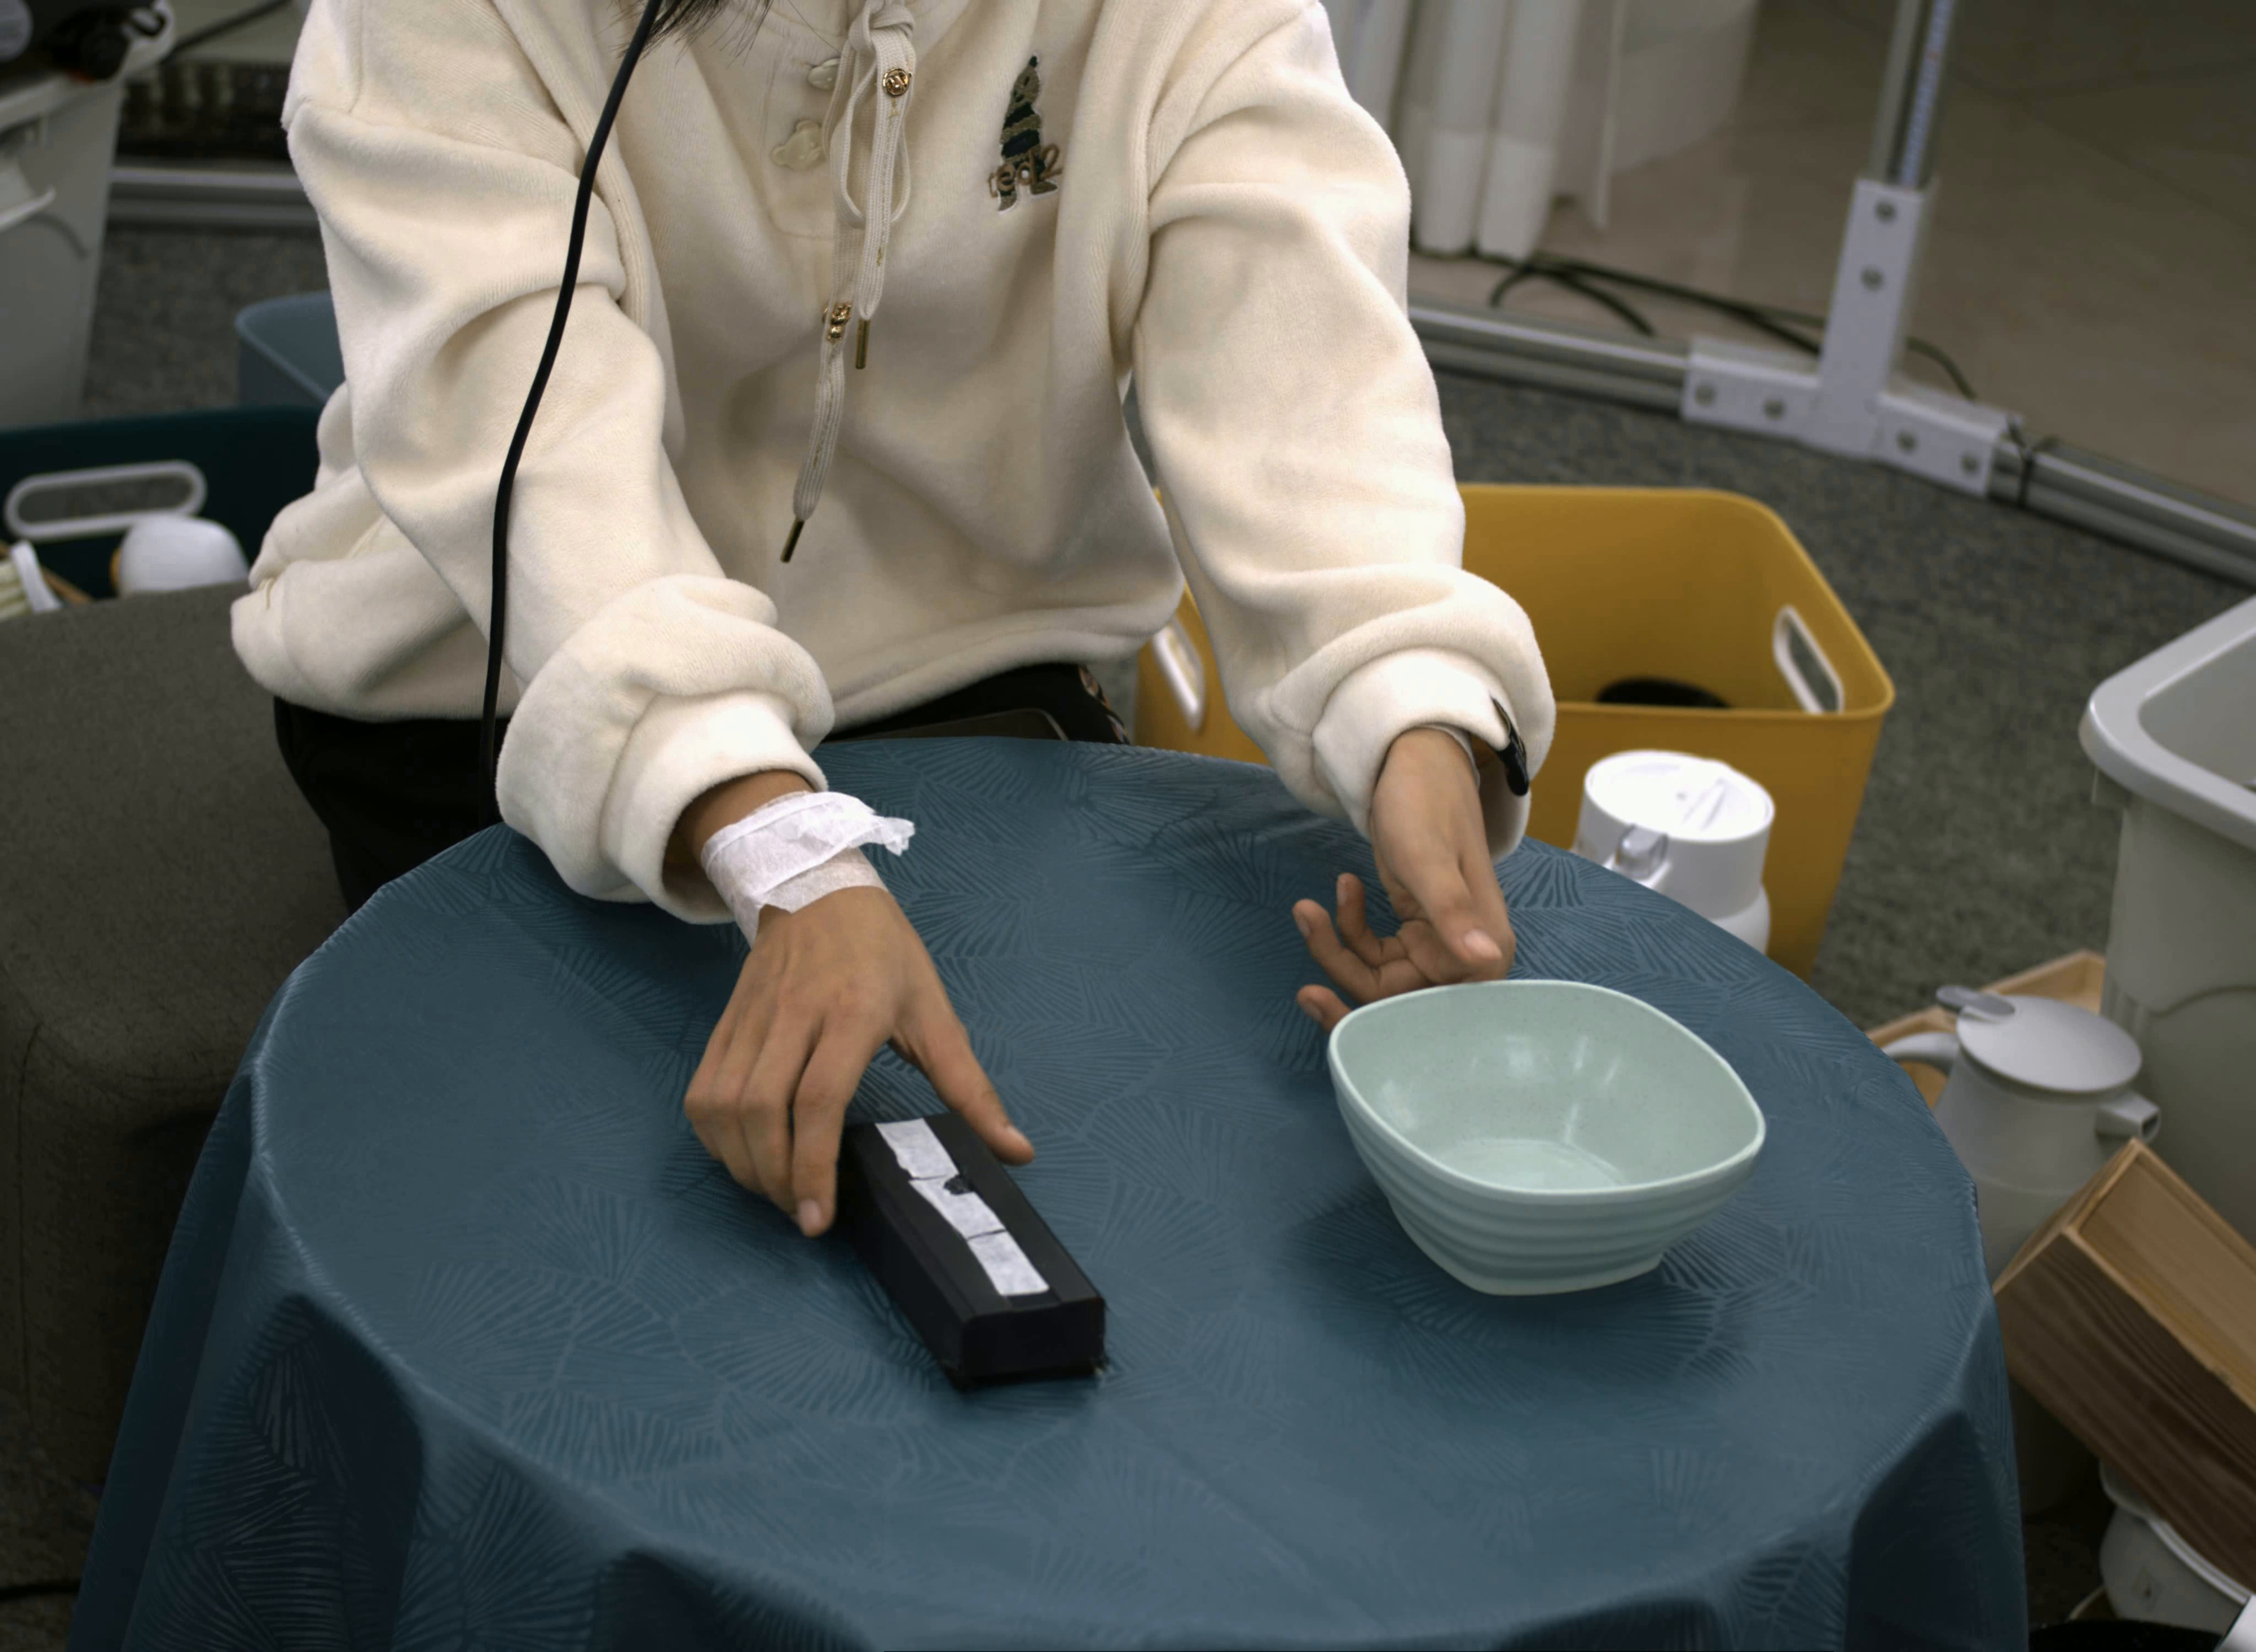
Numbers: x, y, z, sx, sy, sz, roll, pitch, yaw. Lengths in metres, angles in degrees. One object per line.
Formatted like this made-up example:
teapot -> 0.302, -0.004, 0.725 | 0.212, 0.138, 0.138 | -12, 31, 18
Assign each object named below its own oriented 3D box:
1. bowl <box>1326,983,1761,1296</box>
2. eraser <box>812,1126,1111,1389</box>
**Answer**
bowl -> 0.135, 0.112, 1.794 | 0.151, 0.058, 0.152 | 8, 26, -4
eraser -> -0.055, 0.139, 1.730 | 0.053, 0.030, 0.126 | -5, 27, -26
